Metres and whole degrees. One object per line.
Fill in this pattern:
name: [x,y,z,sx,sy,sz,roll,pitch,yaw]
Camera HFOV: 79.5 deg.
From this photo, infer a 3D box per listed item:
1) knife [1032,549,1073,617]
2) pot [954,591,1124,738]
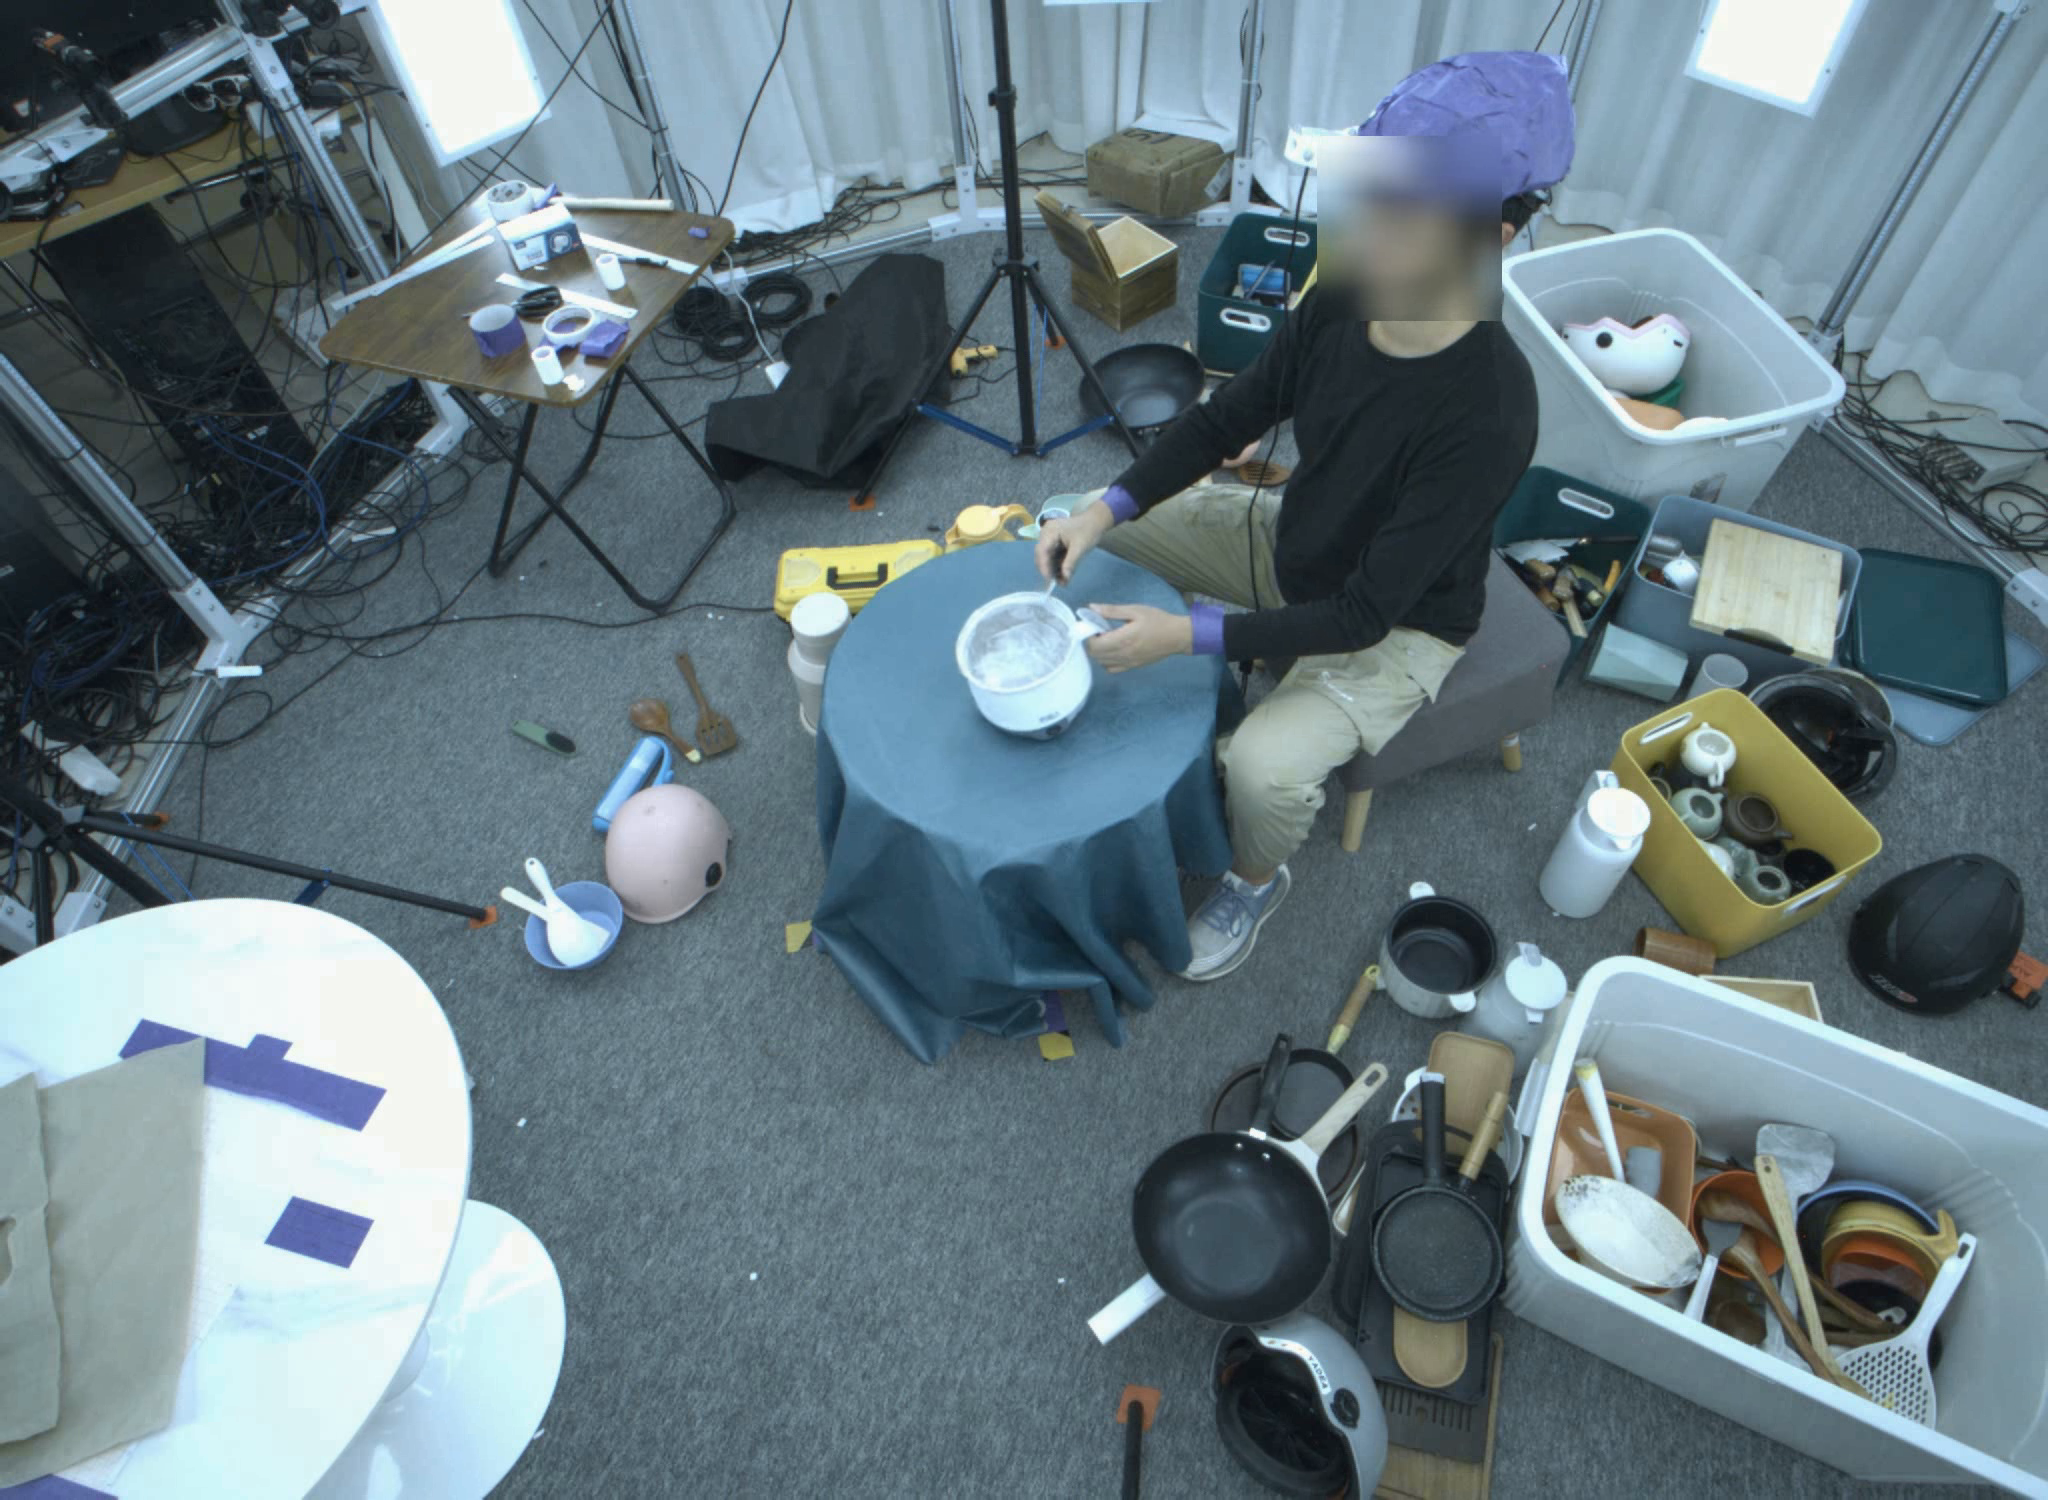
knife: [0.038,-0.244,1.787,0.024,0.016,0.238,3,32,14]
pot: [0.028,-0.132,1.773,0.234,0.139,0.175,-24,57,-1]
